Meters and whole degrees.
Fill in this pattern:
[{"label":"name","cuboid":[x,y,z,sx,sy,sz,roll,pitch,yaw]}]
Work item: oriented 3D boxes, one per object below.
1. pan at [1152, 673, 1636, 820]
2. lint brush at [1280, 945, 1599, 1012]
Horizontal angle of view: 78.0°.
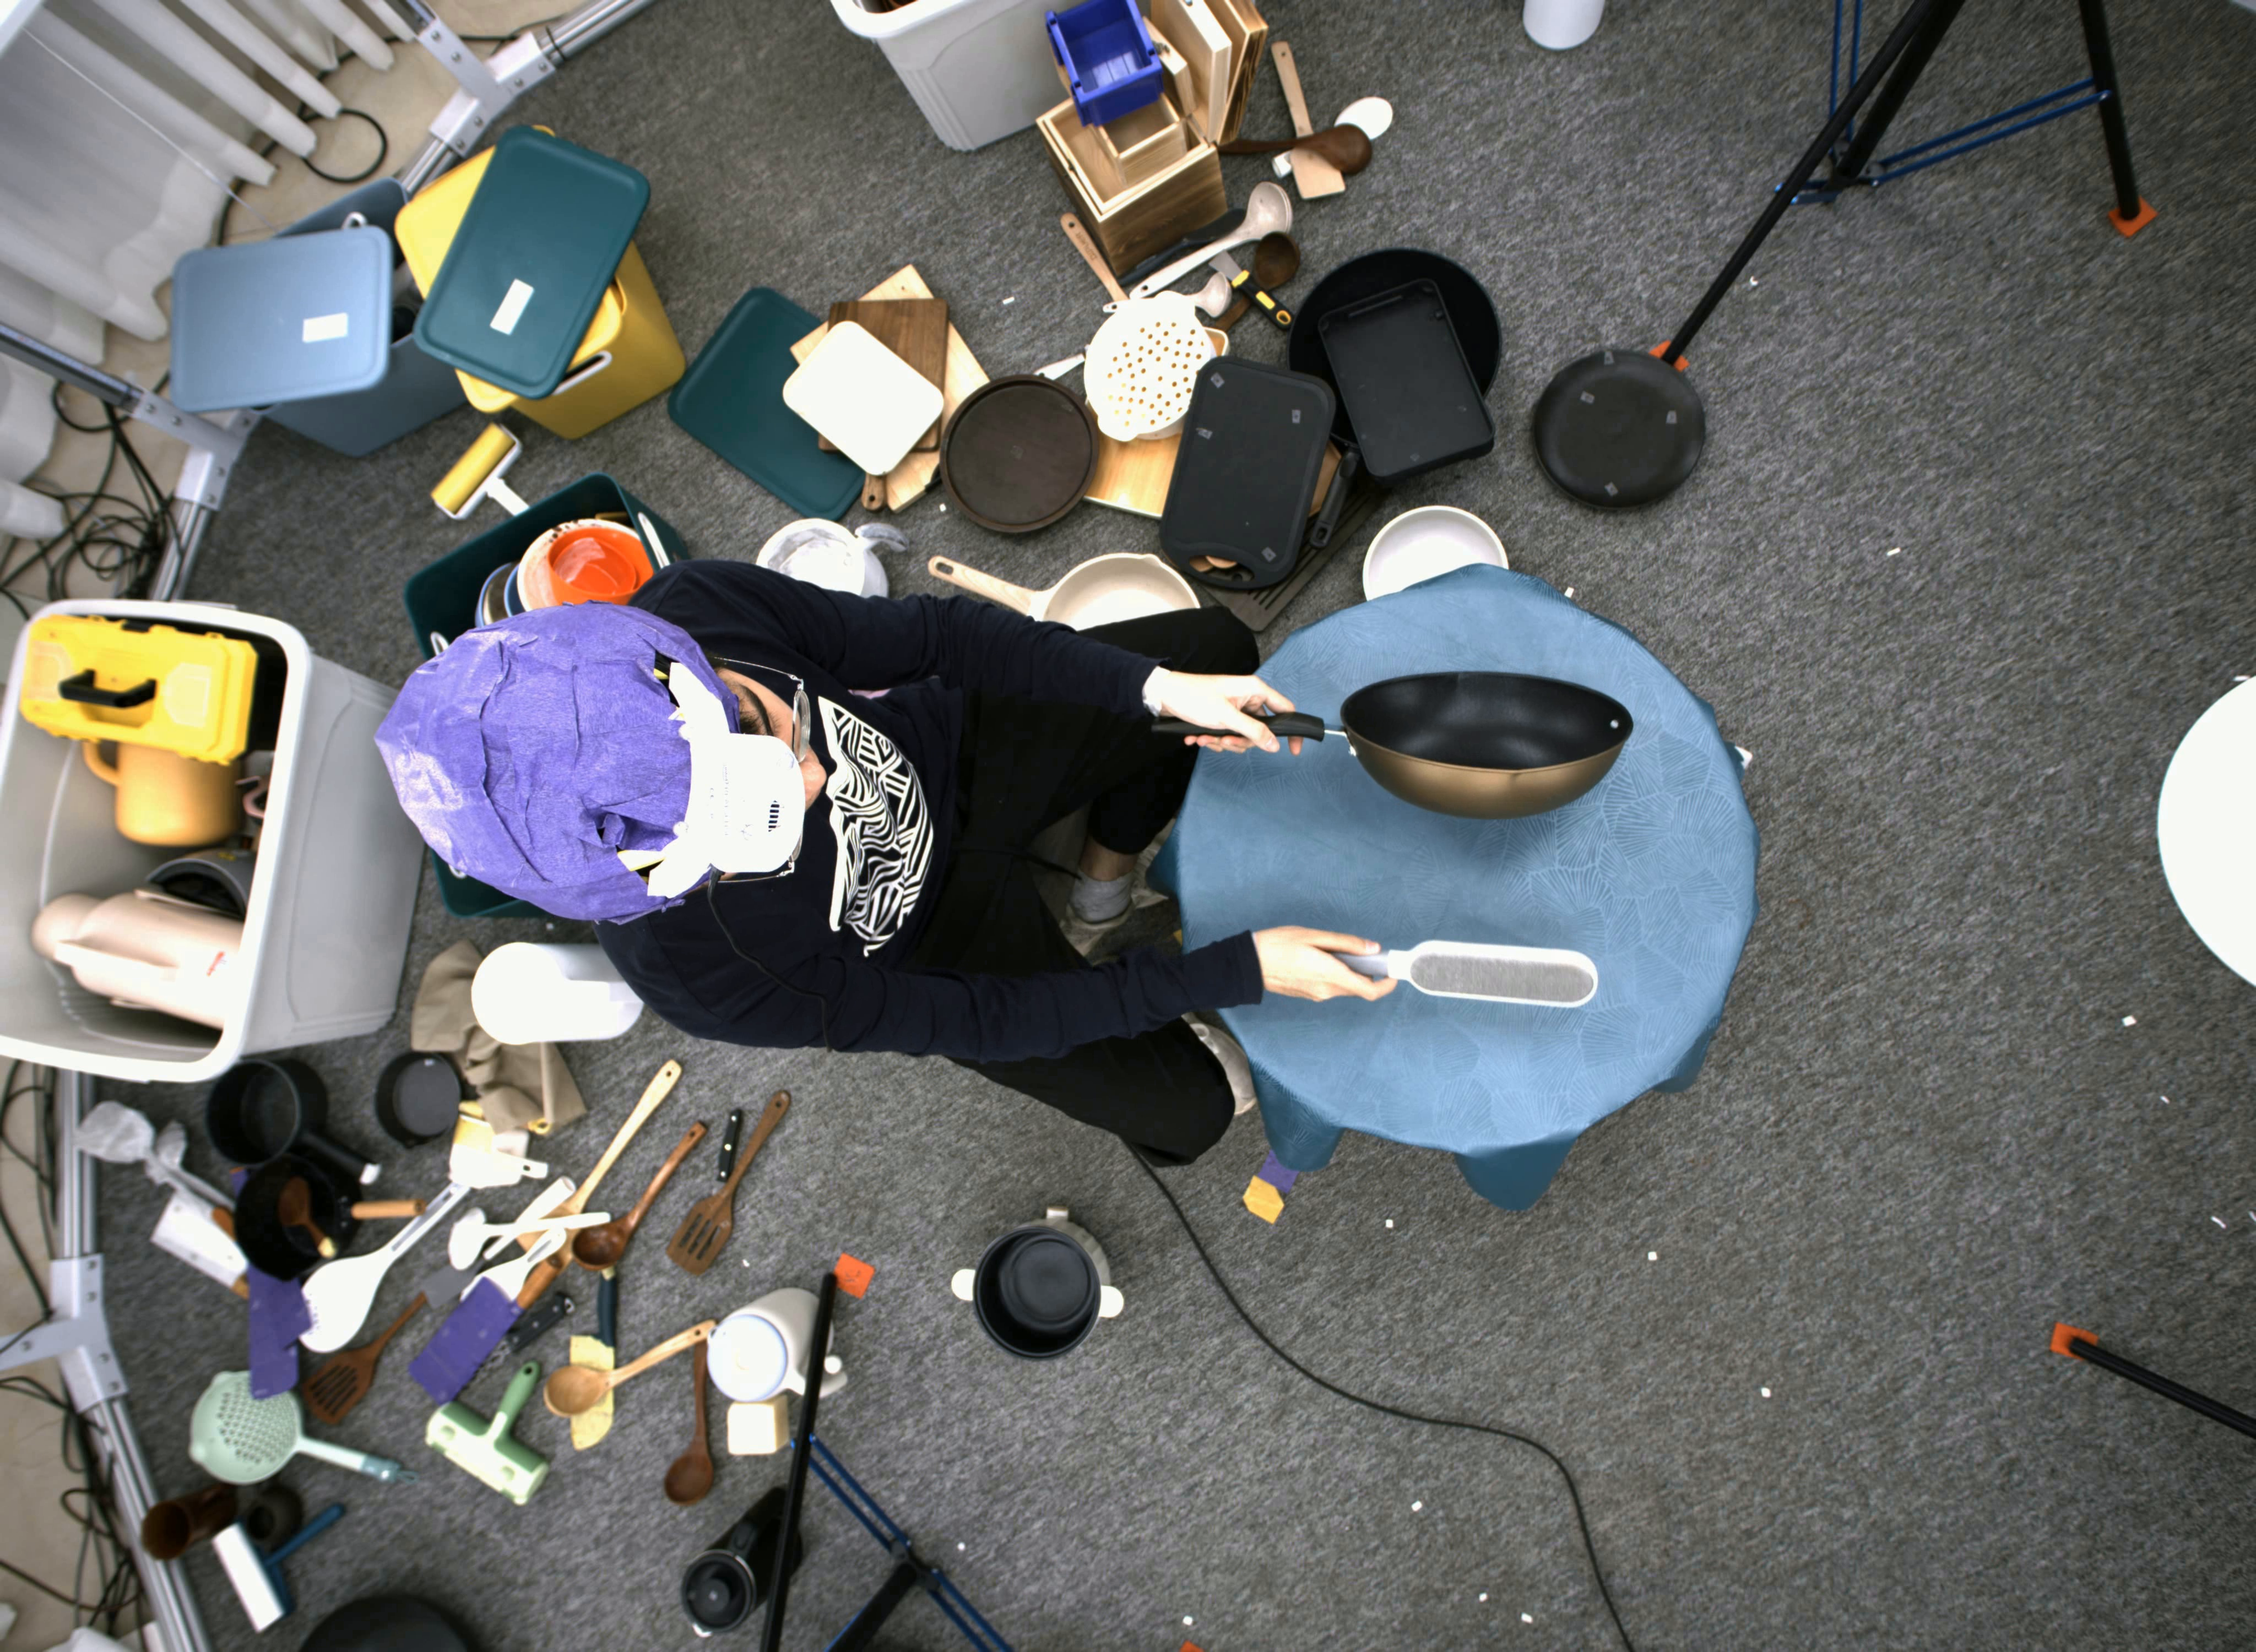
[{"label":"pan","cuboid":[0.256,-0.074,1.351,0.464,0.282,0.088,-1,114,5]},{"label":"lint brush","cuboid":[0.303,0.142,1.361,0.310,0.020,0.061,4,125,15]}]
